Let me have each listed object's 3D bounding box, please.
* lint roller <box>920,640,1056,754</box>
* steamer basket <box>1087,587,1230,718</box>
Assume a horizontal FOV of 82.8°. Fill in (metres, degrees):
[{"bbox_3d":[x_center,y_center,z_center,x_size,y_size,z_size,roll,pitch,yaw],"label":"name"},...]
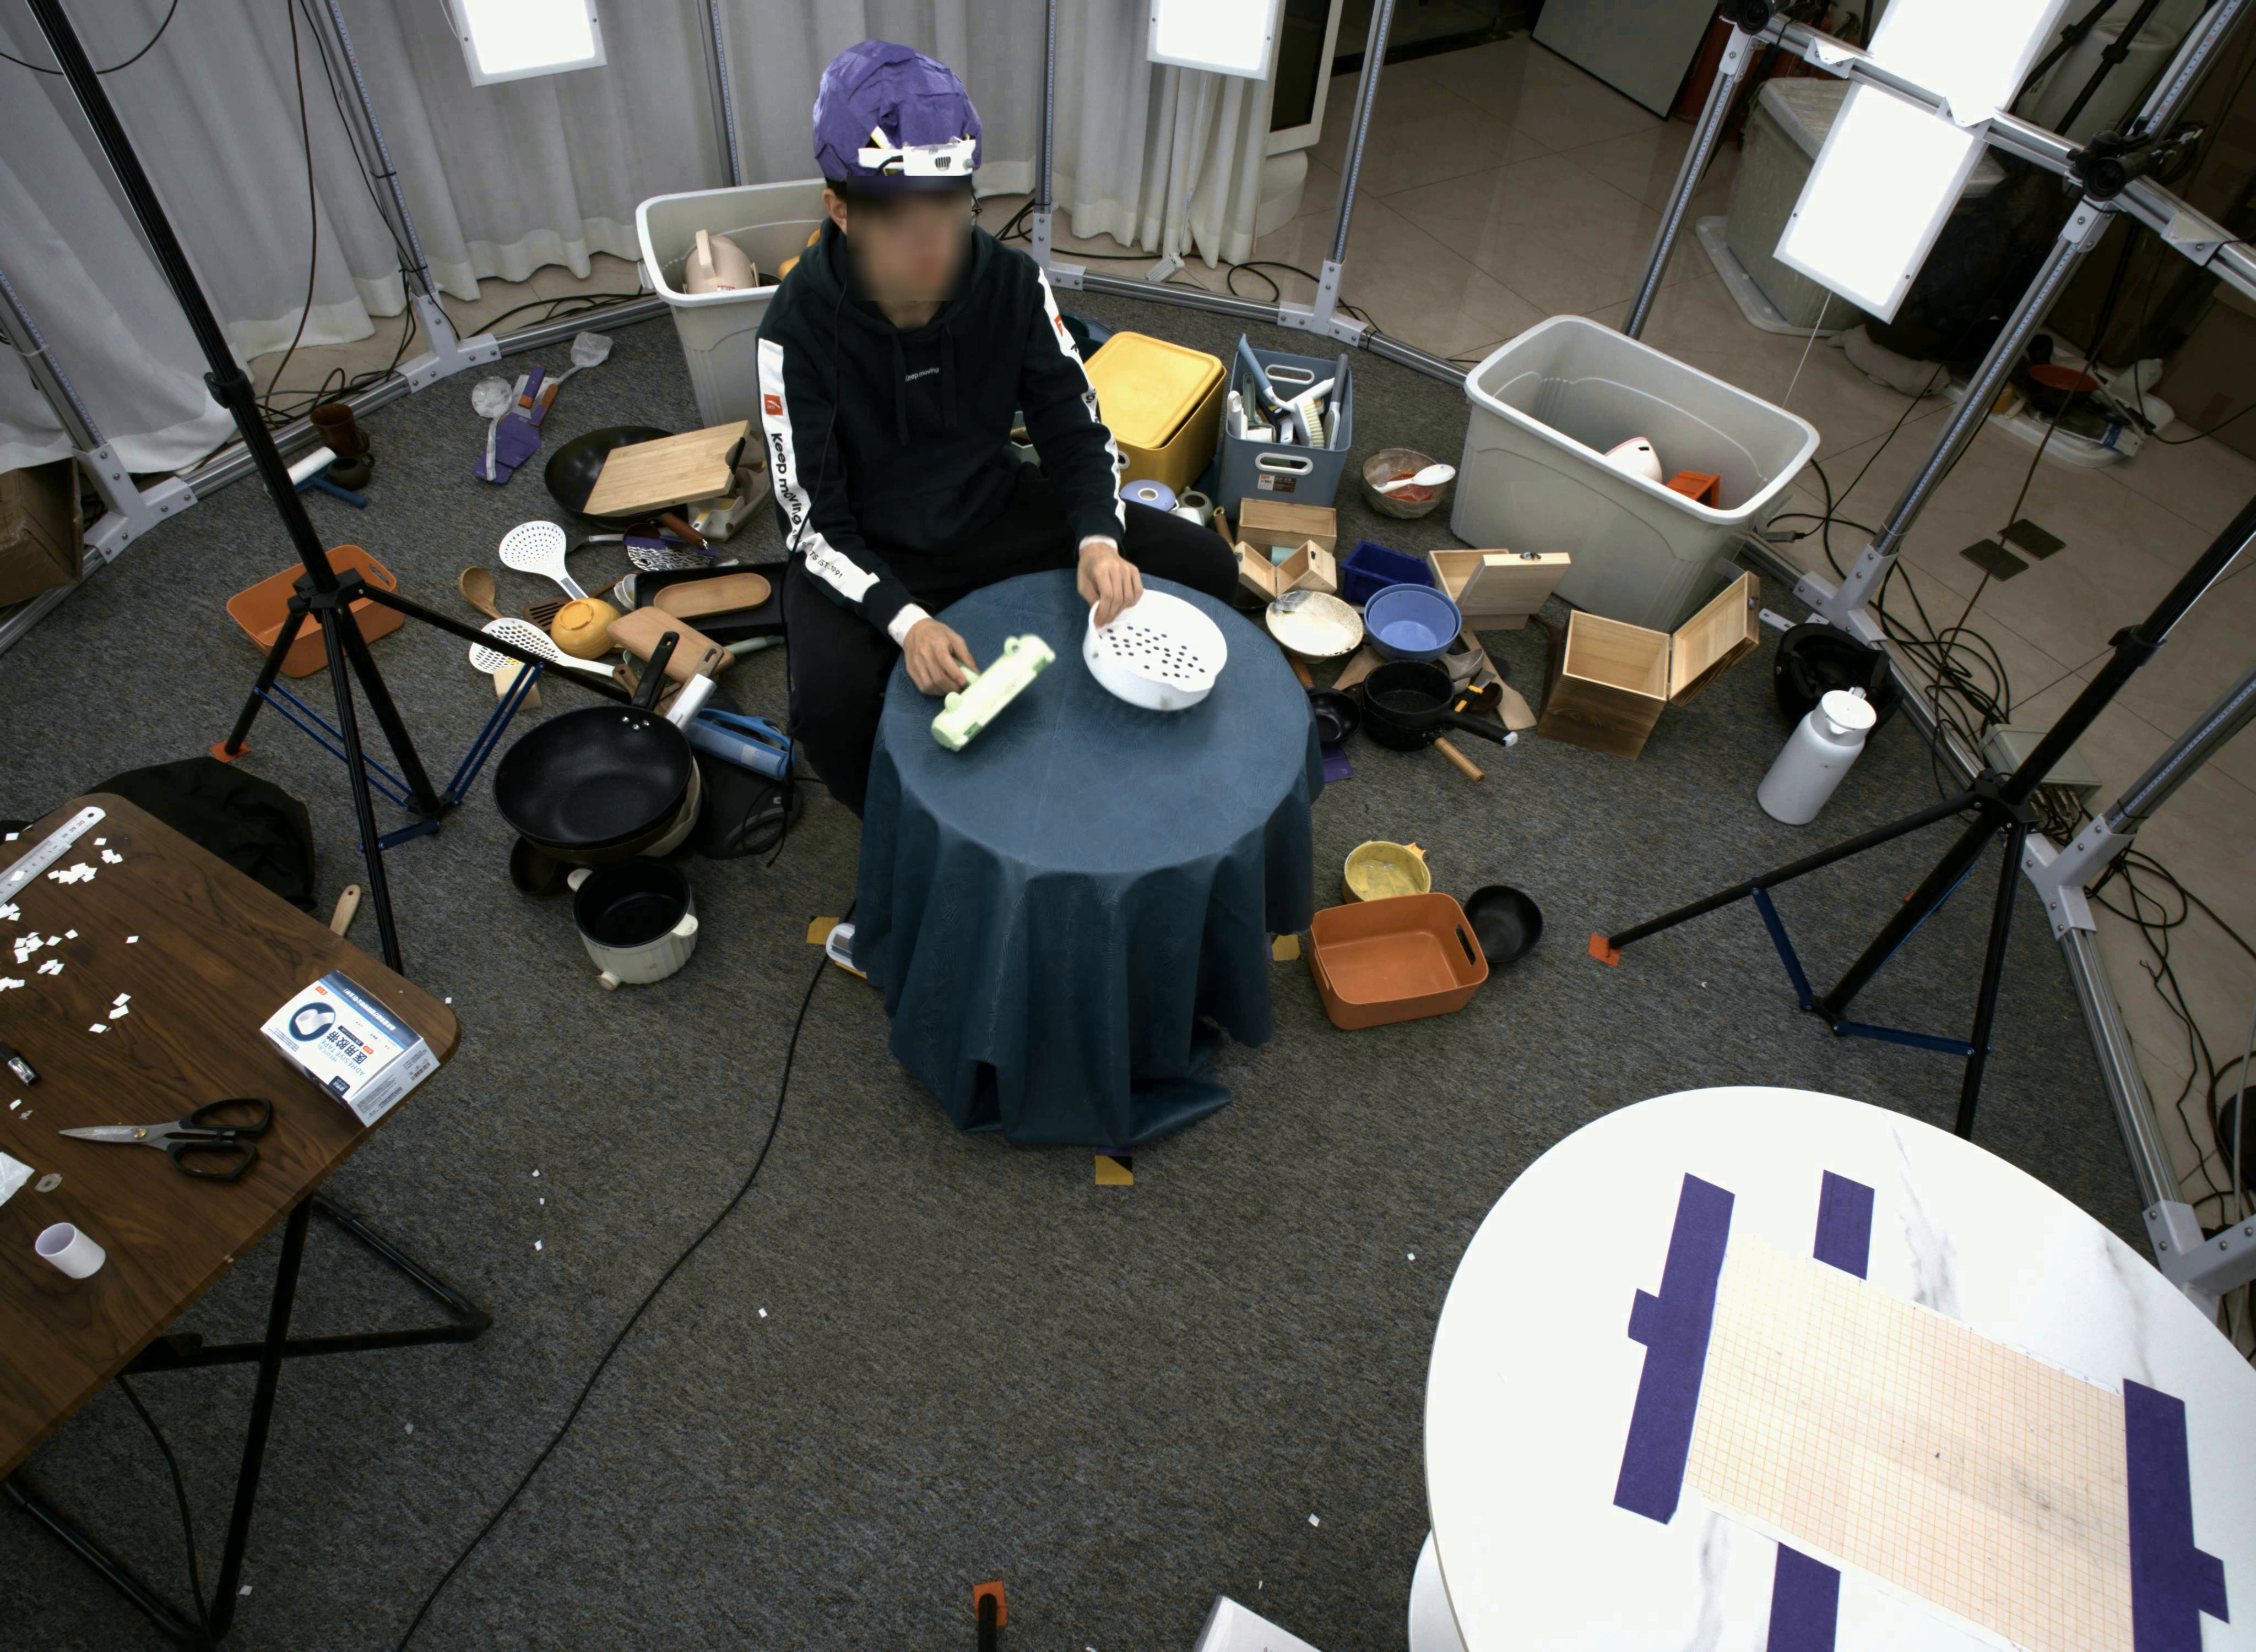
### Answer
[{"bbox_3d":[-0.227,-0.210,1.769,0.186,0.080,0.200,35,66,25],"label":"lint roller"},{"bbox_3d":[0.041,-0.242,1.816,0.202,0.068,0.235,-16,56,-29],"label":"steamer basket"}]
